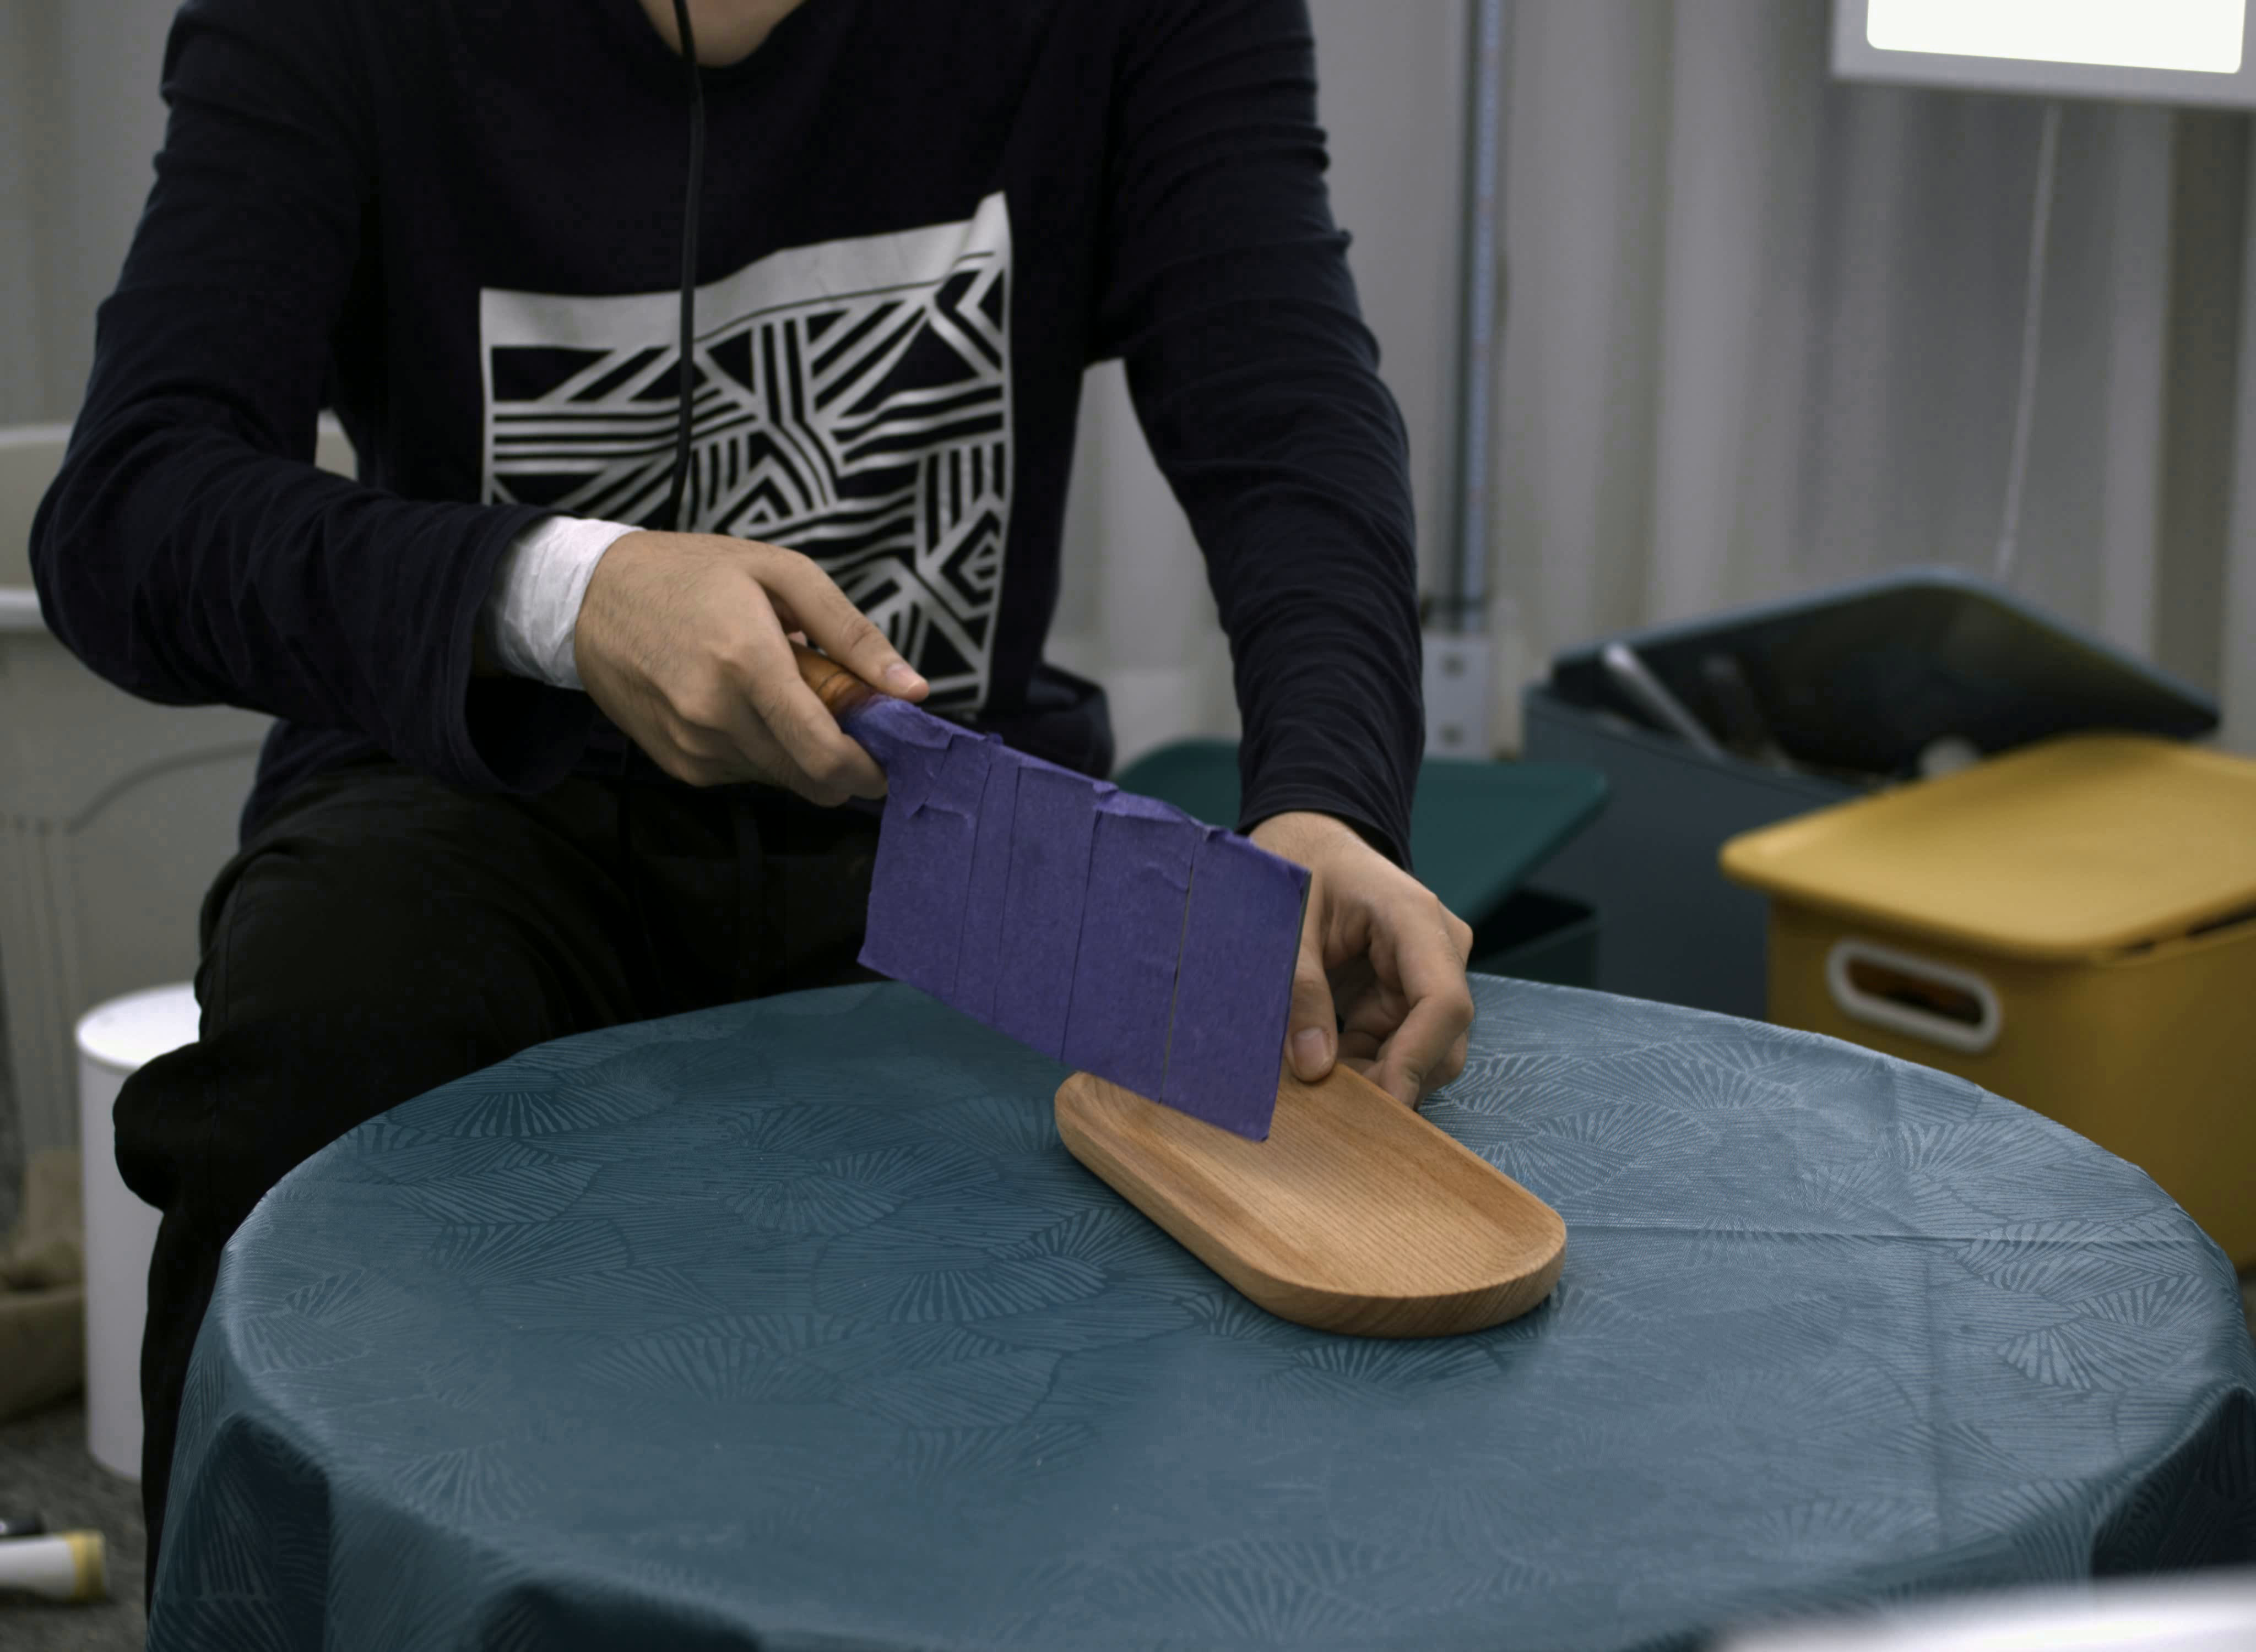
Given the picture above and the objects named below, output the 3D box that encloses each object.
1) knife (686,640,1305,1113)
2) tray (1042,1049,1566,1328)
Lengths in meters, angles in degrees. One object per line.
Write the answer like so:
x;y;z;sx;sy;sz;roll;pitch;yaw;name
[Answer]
-0.052;0.015;1.699;0.032;0.104;0.311;1;14;-39;knife
0.051;0.108;1.606;0.102;0.020;0.228;-7;16;-24;tray
